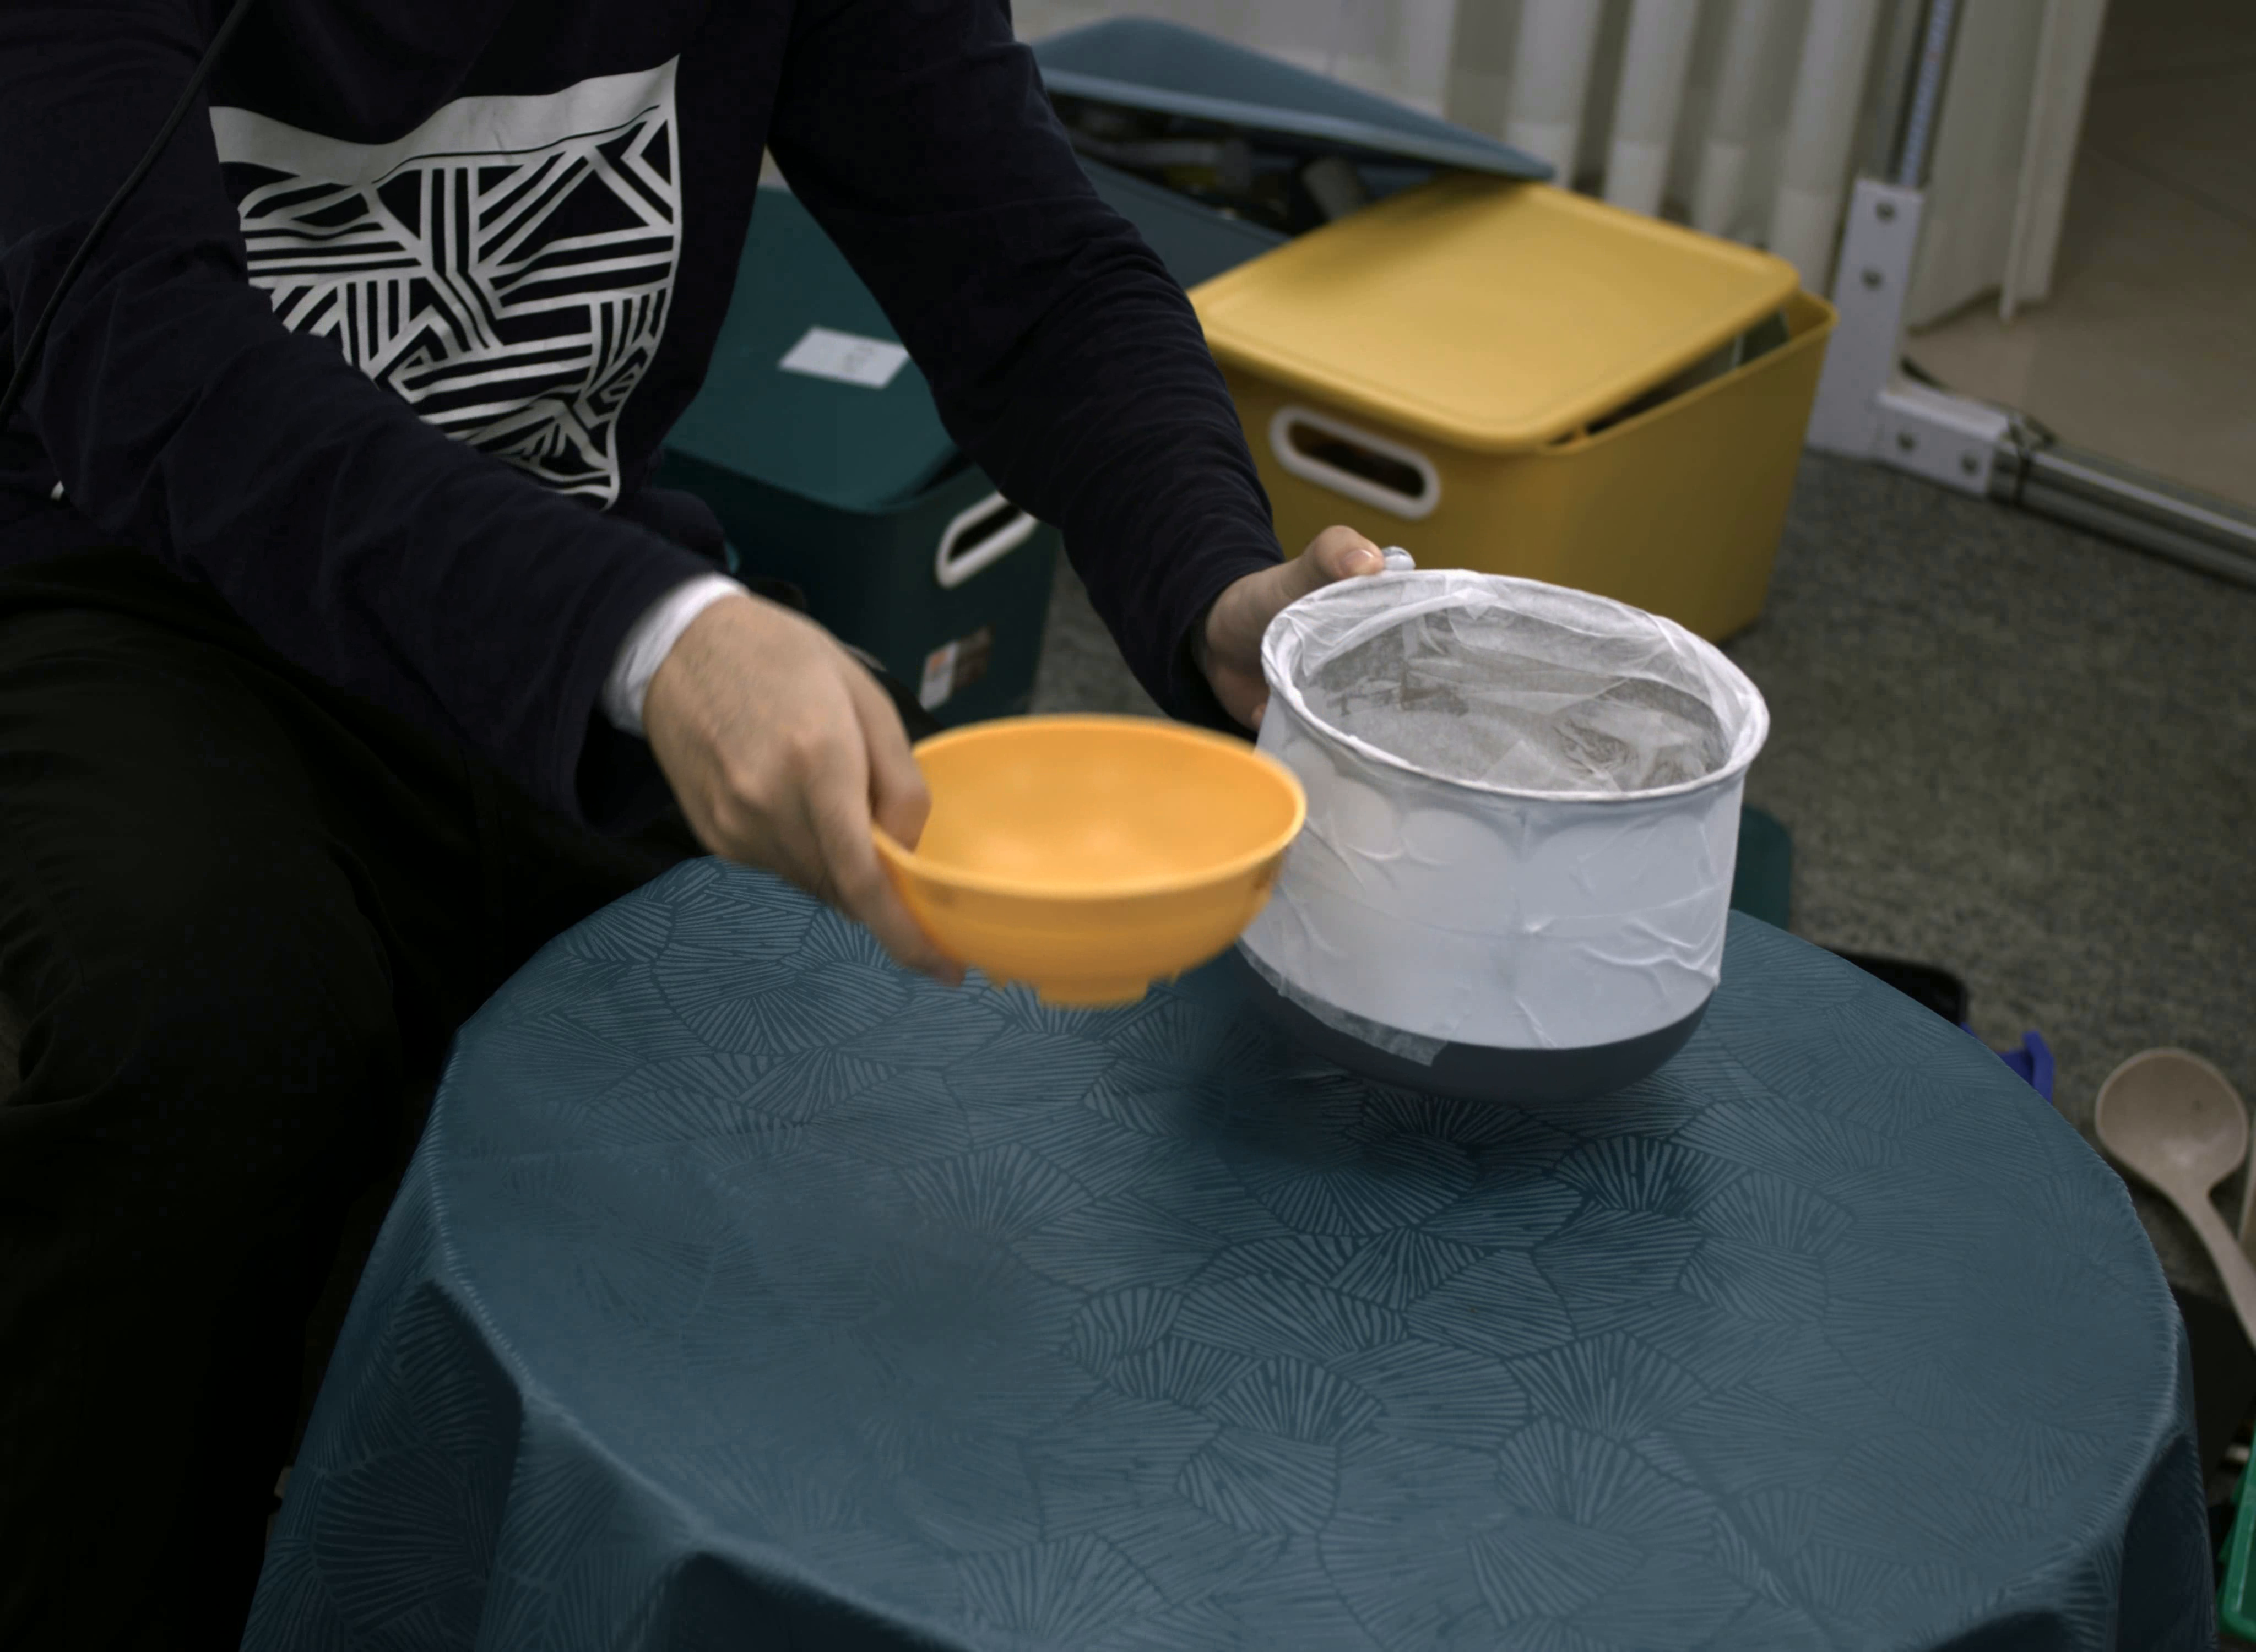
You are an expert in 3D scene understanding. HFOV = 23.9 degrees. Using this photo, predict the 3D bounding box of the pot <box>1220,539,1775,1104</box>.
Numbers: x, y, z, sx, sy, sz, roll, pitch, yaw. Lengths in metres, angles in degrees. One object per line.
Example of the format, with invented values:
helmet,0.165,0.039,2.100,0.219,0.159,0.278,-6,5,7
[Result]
pot,0.114,-0.008,1.883,0.177,0.136,0.236,-2,29,-26

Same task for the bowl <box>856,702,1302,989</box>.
bowl,-0.017,0.013,1.721,0.145,0.060,0.146,1,23,-1
